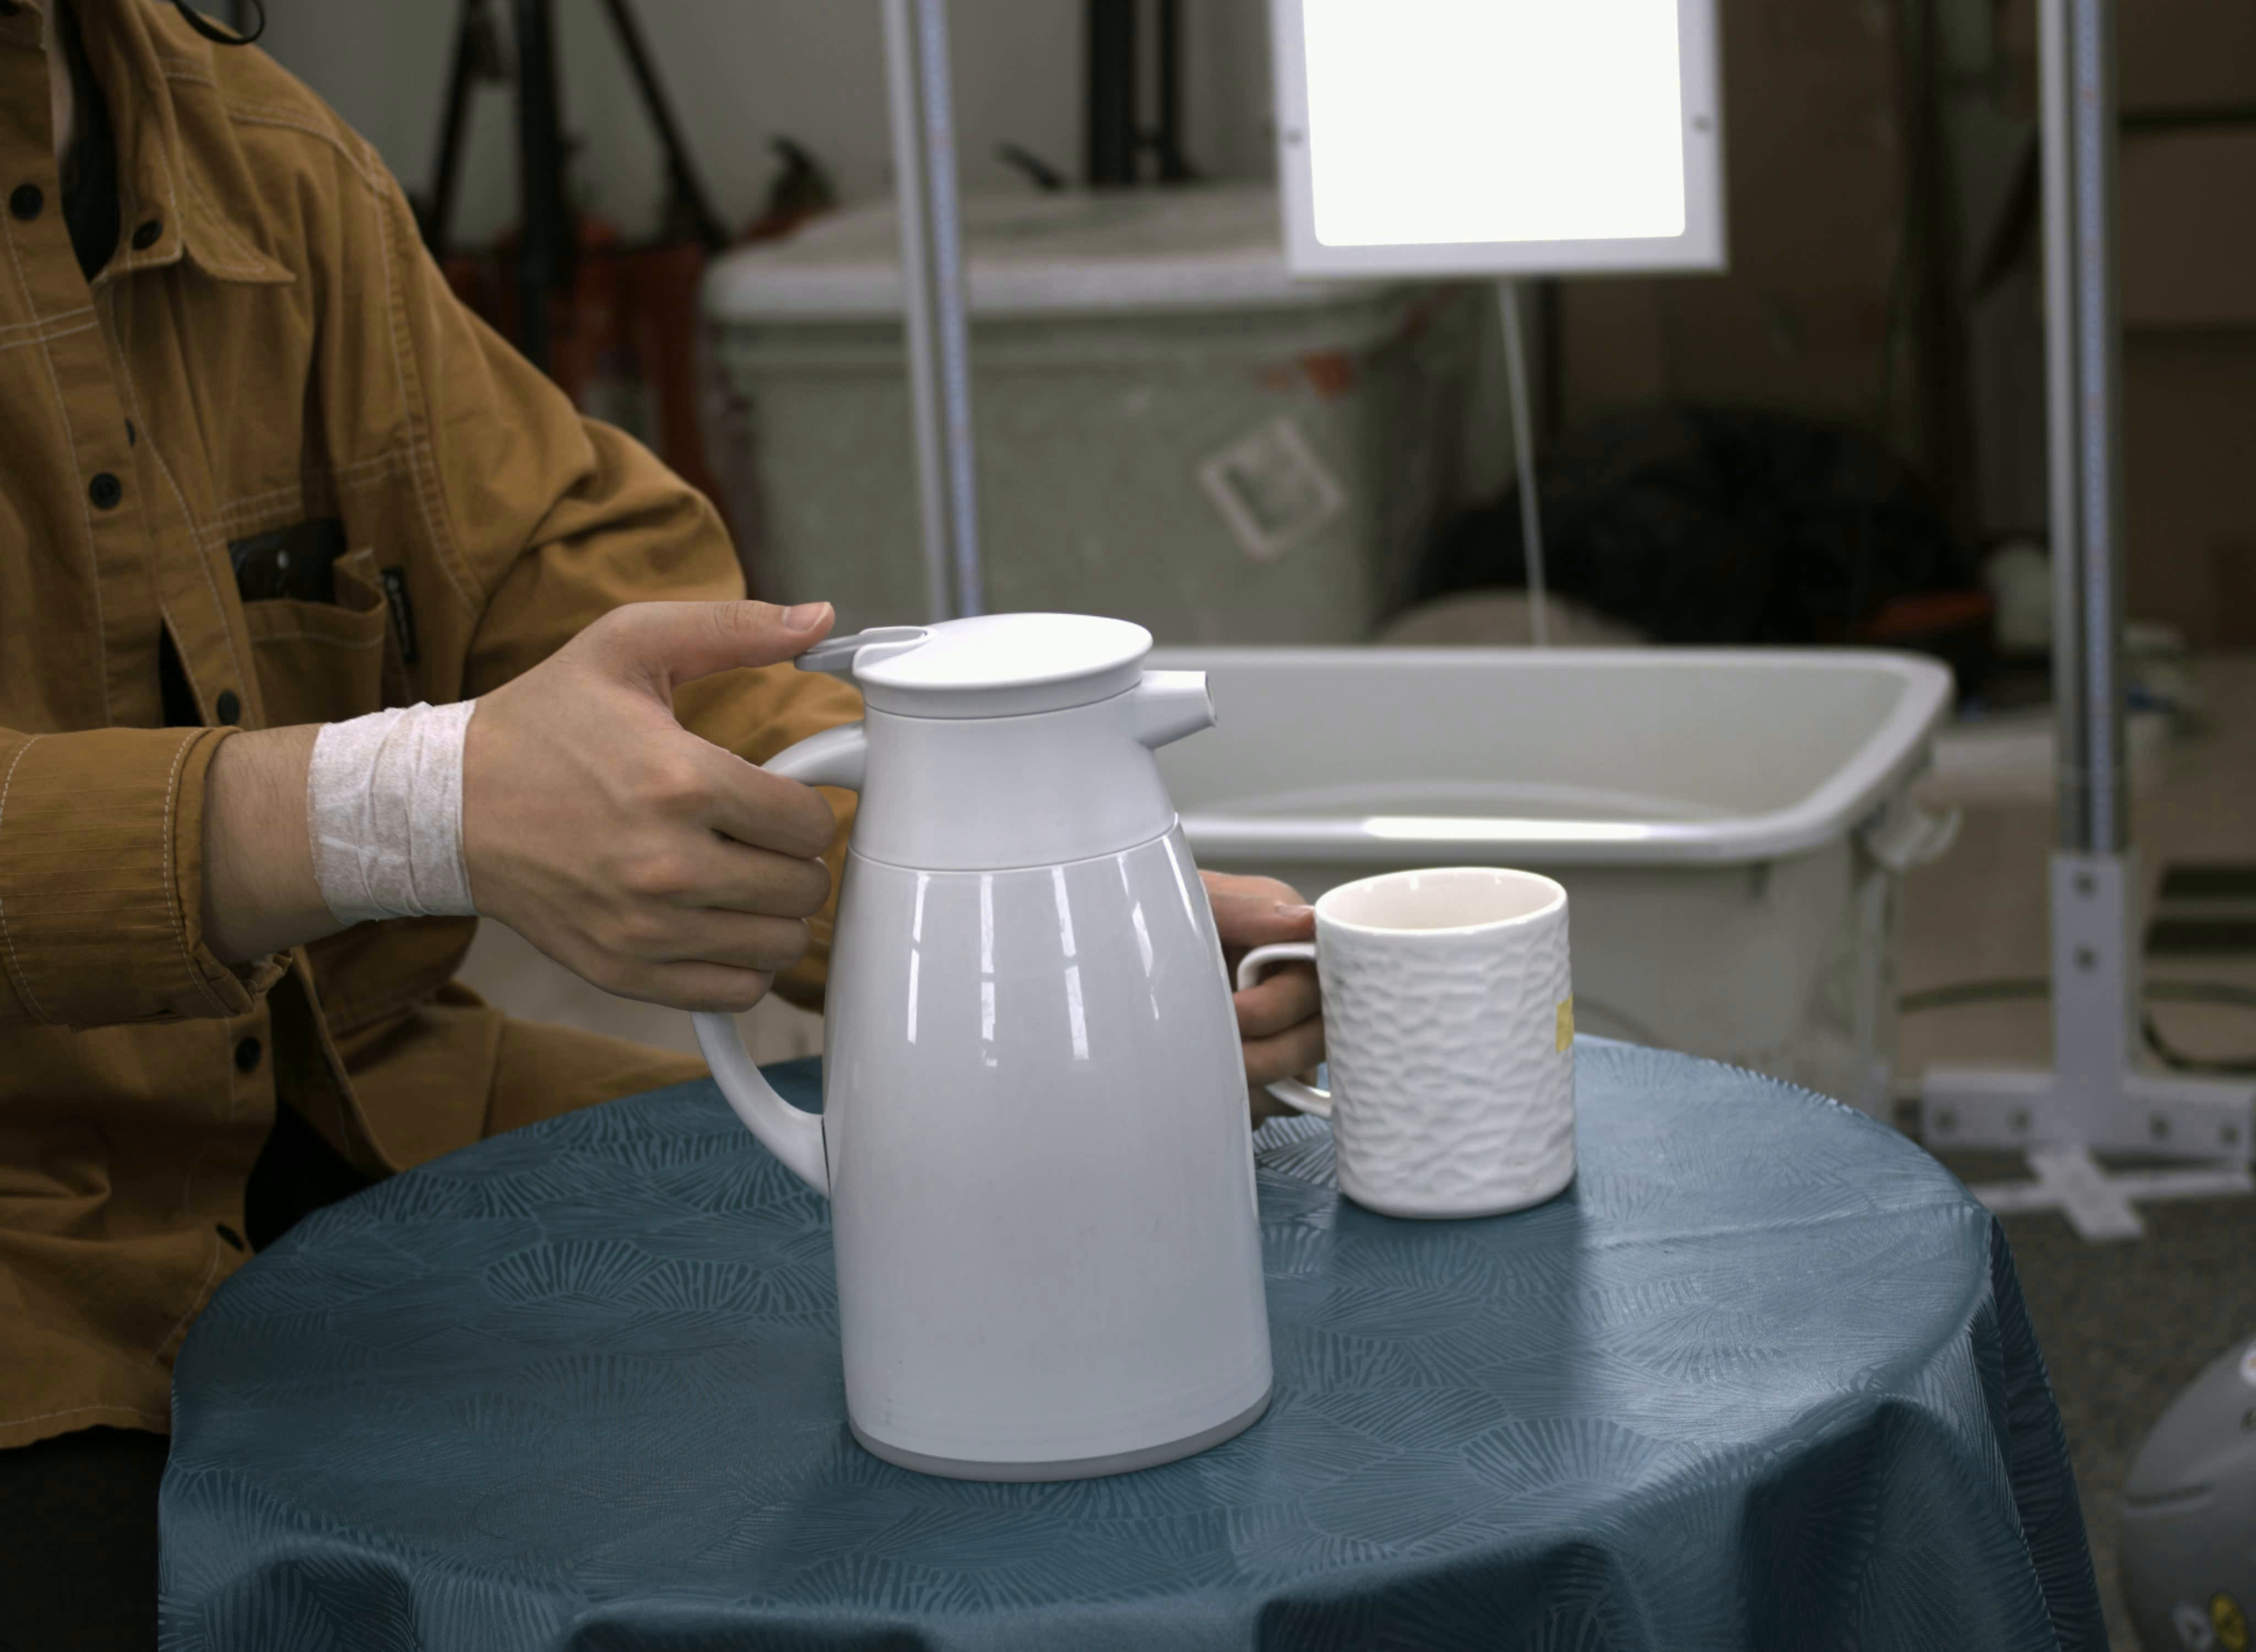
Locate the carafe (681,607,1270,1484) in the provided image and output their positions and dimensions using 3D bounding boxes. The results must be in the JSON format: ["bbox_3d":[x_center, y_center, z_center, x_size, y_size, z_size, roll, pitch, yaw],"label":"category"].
[{"bbox_3d":[-0.049,0.061,1.663,0.167,0.249,0.132,-4,14,3],"label":"carafe"}]

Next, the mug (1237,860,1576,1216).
[{"bbox_3d":[0.094,0.071,1.867,0.120,0.102,0.083,3,16,23],"label":"mug"}]
